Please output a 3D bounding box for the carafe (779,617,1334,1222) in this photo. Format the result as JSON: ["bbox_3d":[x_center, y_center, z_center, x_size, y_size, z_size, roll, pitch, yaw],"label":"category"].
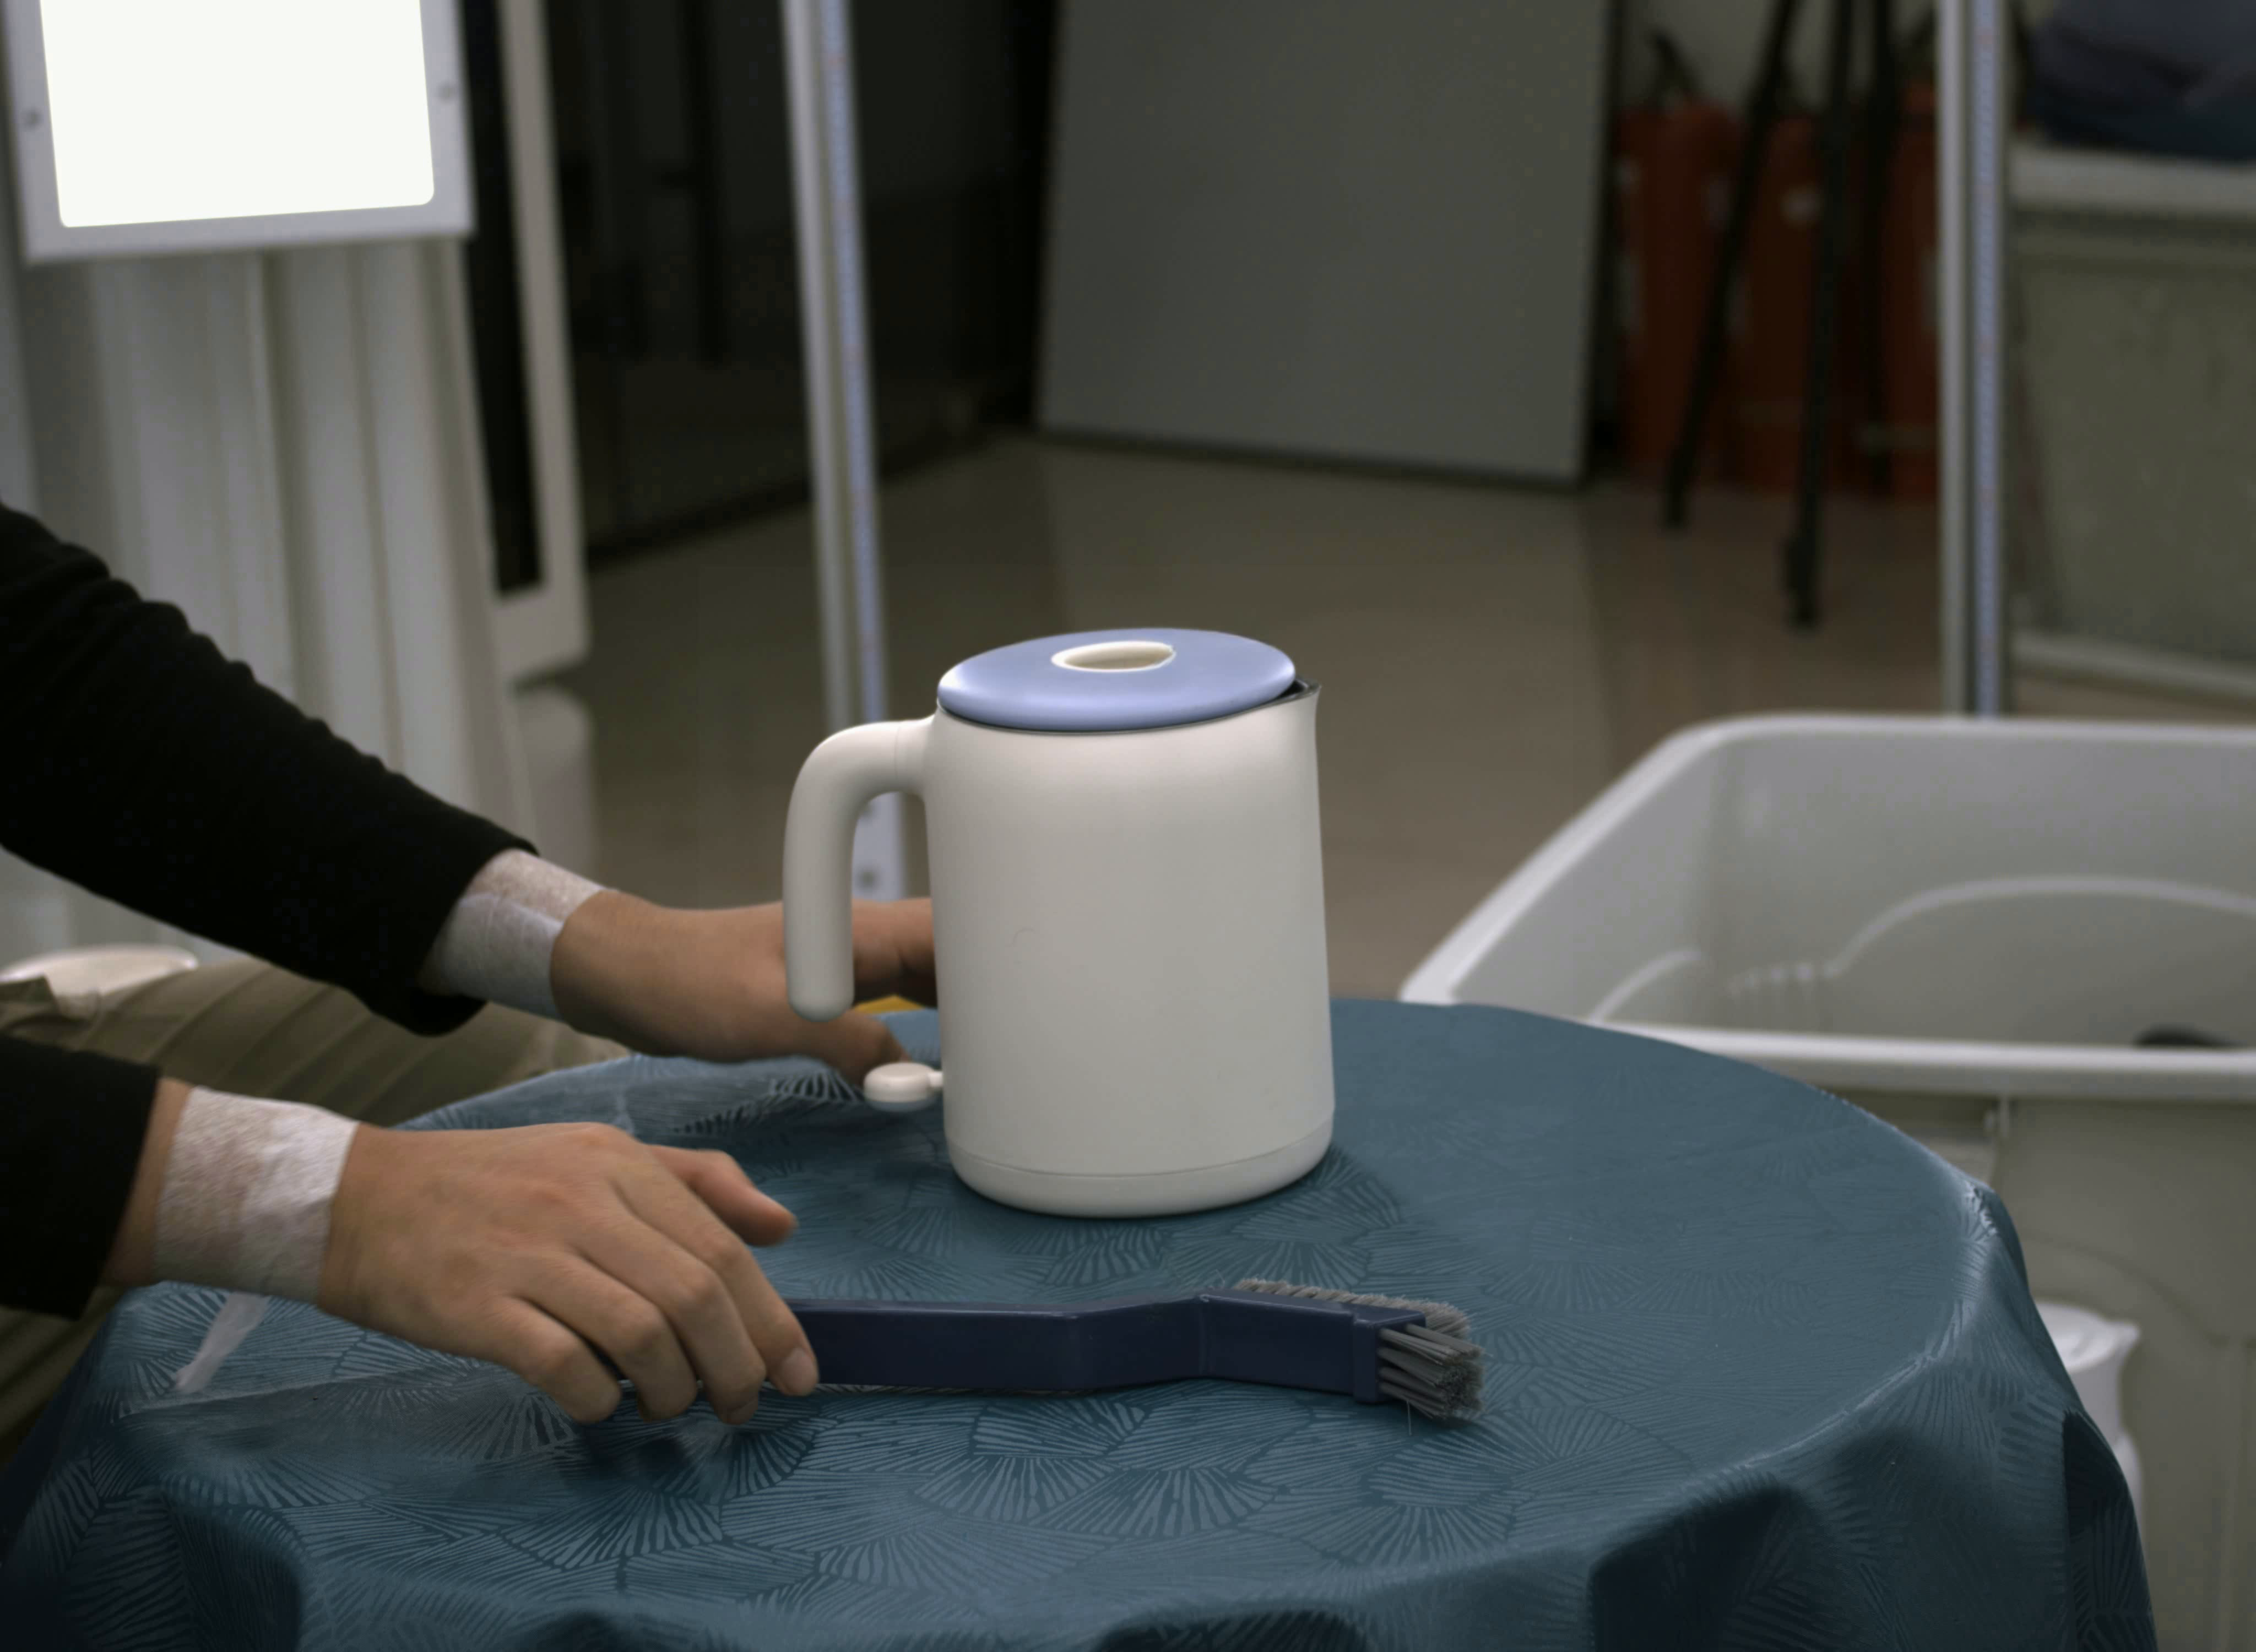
[{"bbox_3d":[-0.024,0.031,1.783,0.190,0.184,0.131,-2,13,12],"label":"carafe"}]

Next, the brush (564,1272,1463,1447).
[{"bbox_3d":[-0.036,0.154,1.582,0.270,0.034,0.095,-2,16,6],"label":"brush"}]
